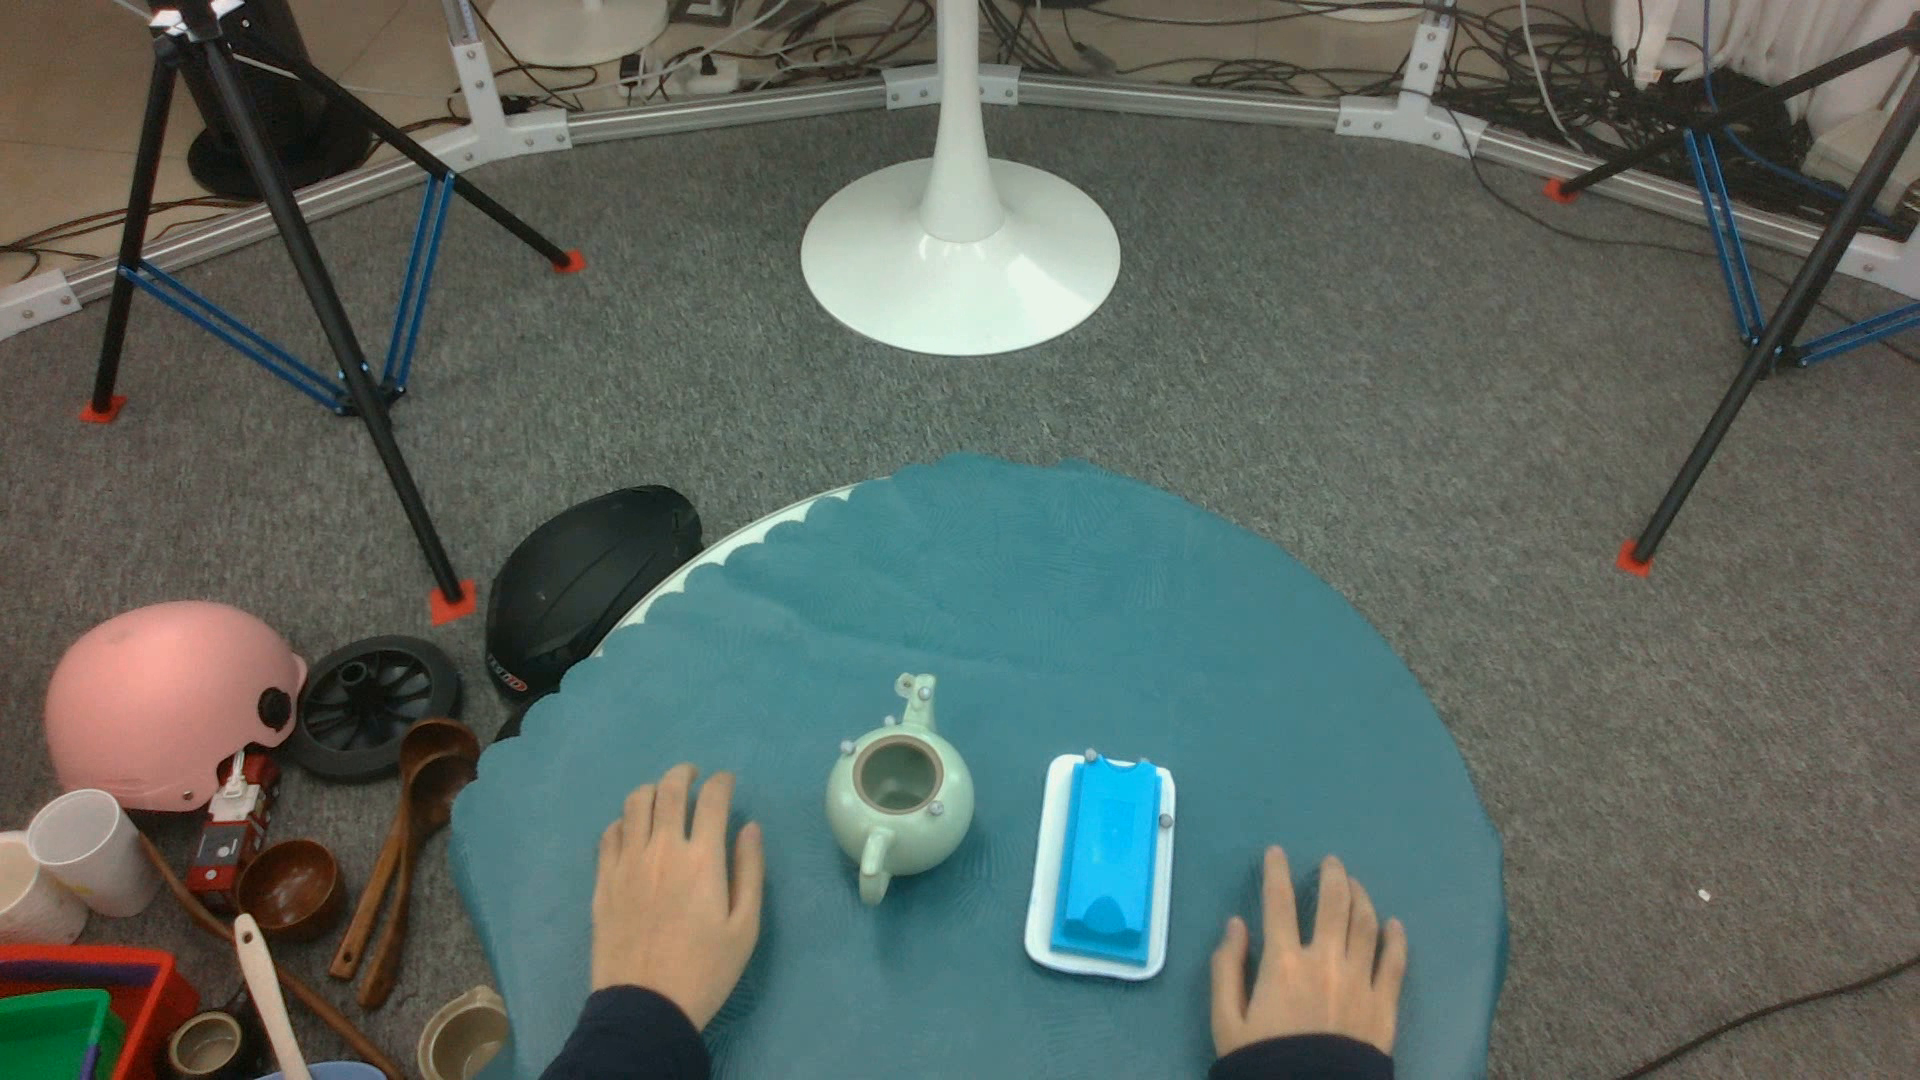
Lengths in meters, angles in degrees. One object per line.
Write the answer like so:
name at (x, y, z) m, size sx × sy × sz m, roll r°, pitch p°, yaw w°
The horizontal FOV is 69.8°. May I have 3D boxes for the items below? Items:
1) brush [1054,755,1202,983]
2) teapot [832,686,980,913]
brush at (0.093, 0.184, 0.807) m, size 0.084 × 0.055 × 0.144 m, roll -7°, pitch 44°, yaw 7°
teapot at (-0.032, 0.162, 0.824) m, size 0.088 × 0.074 × 0.144 m, roll 12°, pitch 46°, yaw 10°
